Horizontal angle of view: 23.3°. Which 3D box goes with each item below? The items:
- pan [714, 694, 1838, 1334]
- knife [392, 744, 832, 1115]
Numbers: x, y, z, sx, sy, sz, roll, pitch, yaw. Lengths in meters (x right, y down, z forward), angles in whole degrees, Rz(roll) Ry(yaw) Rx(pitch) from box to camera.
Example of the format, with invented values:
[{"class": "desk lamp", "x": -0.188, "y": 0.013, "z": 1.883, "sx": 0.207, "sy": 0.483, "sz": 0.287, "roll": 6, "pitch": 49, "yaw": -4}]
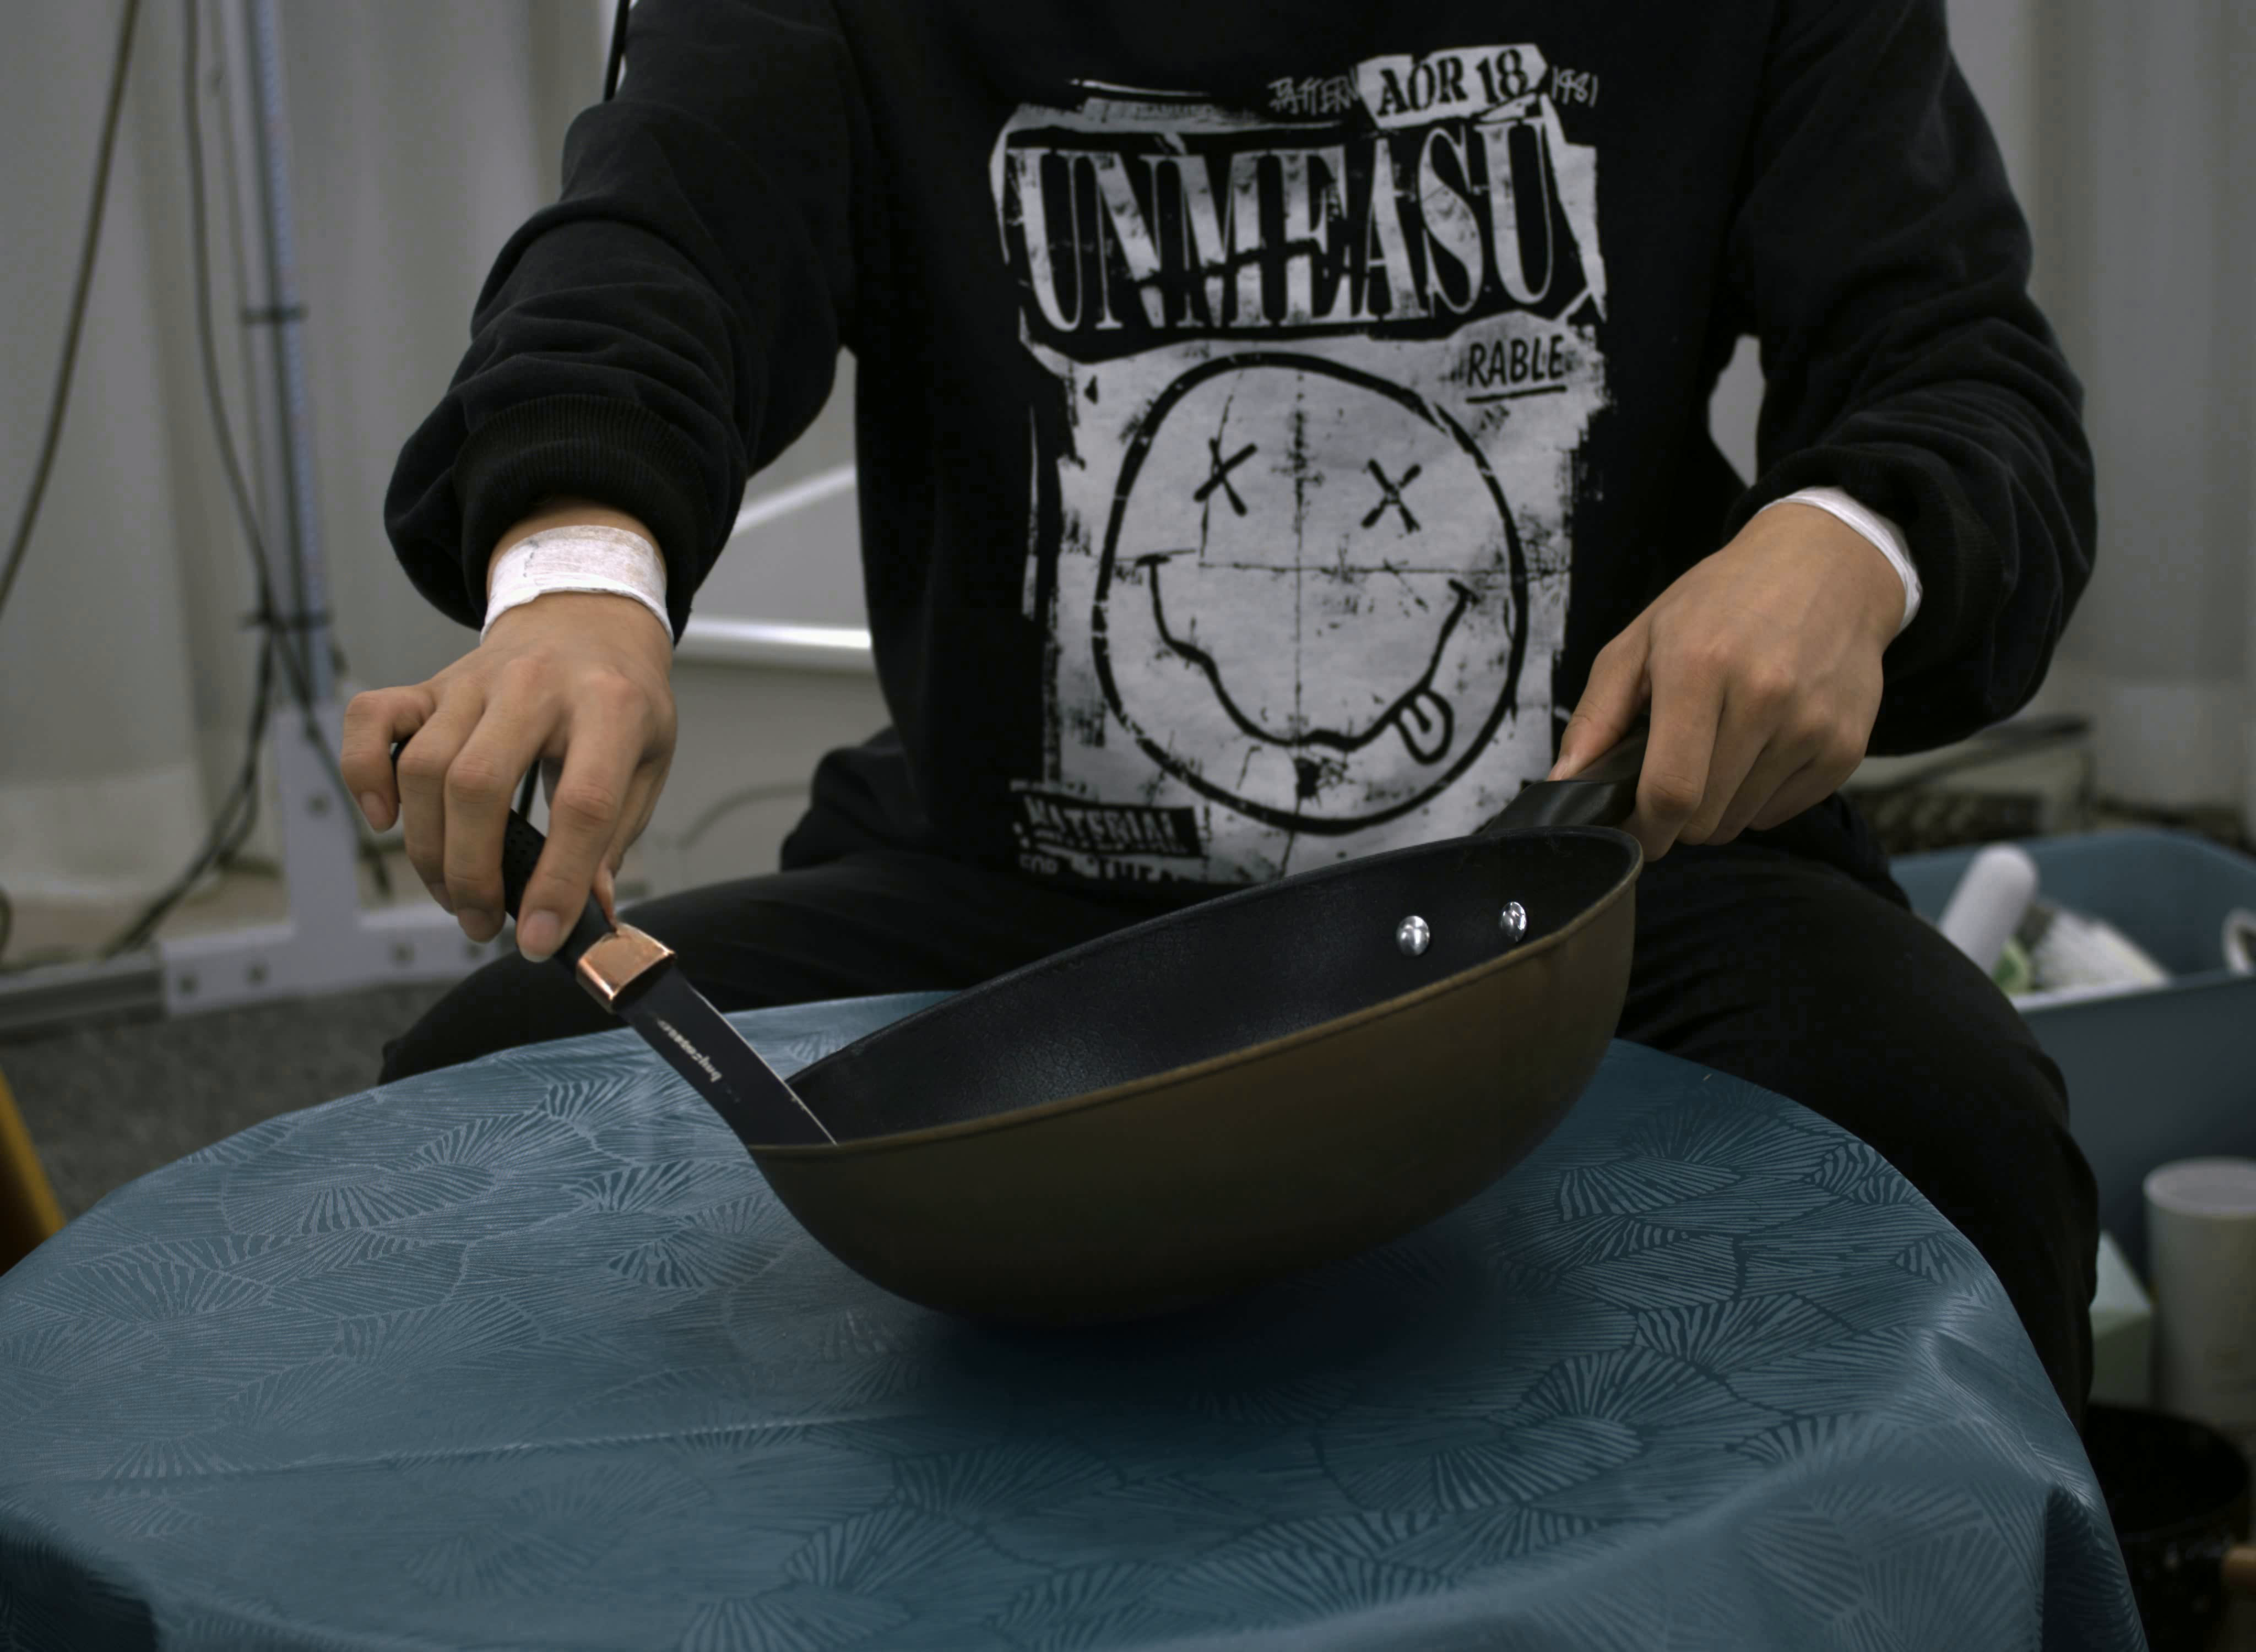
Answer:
[{"class": "pan", "x": 0.083, "y": 0.058, "z": 1.664, "sx": 0.288, "sy": 0.087, "sz": 0.463, "roll": -10, "pitch": 9, "yaw": 44}, {"class": "knife", "x": -0.140, "y": 0.046, "z": 1.599, "sx": 0.026, "sy": 0.017, "sz": 0.228, "roll": -36, "pitch": 62, "yaw": -23}]
